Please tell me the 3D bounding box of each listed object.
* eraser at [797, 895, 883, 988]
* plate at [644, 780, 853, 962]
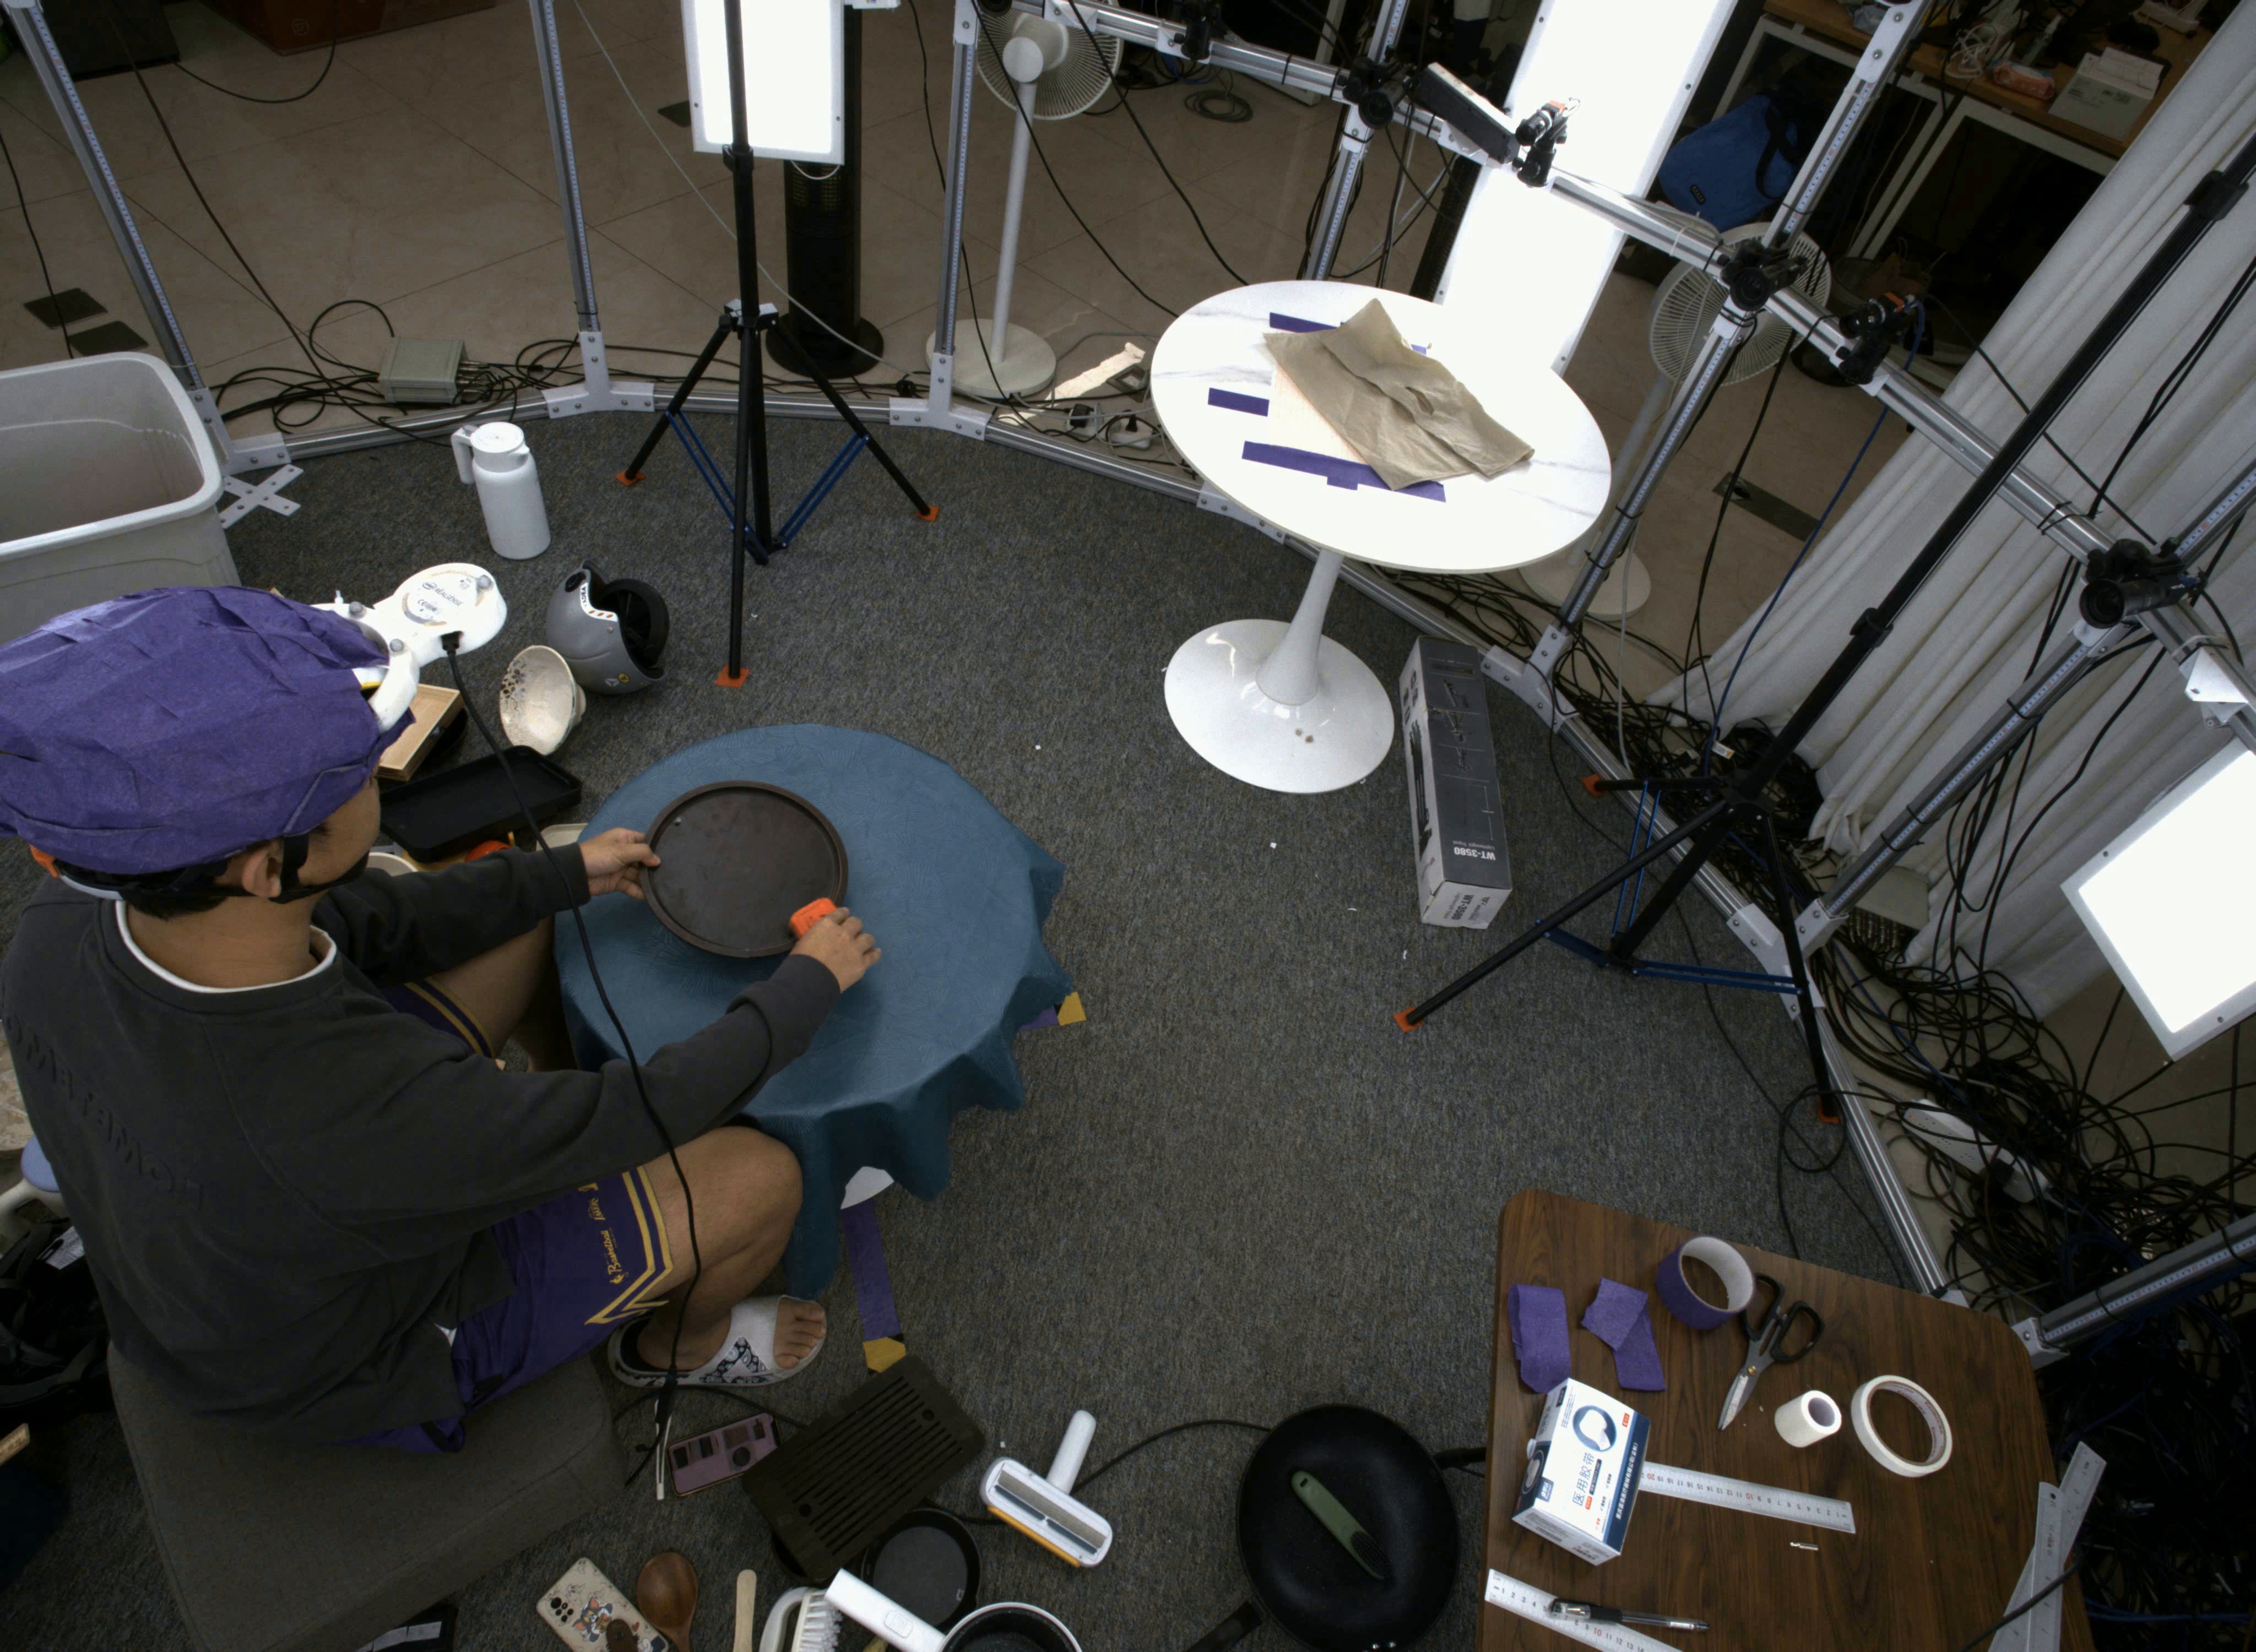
[{"bbox_3d":[-0.348,0.136,1.566,0.059,0.023,0.107,-33,80,-35],"label":"eraser"},{"bbox_3d":[-0.467,0.052,1.597,0.257,0.029,0.251,12,57,-18],"label":"plate"}]
